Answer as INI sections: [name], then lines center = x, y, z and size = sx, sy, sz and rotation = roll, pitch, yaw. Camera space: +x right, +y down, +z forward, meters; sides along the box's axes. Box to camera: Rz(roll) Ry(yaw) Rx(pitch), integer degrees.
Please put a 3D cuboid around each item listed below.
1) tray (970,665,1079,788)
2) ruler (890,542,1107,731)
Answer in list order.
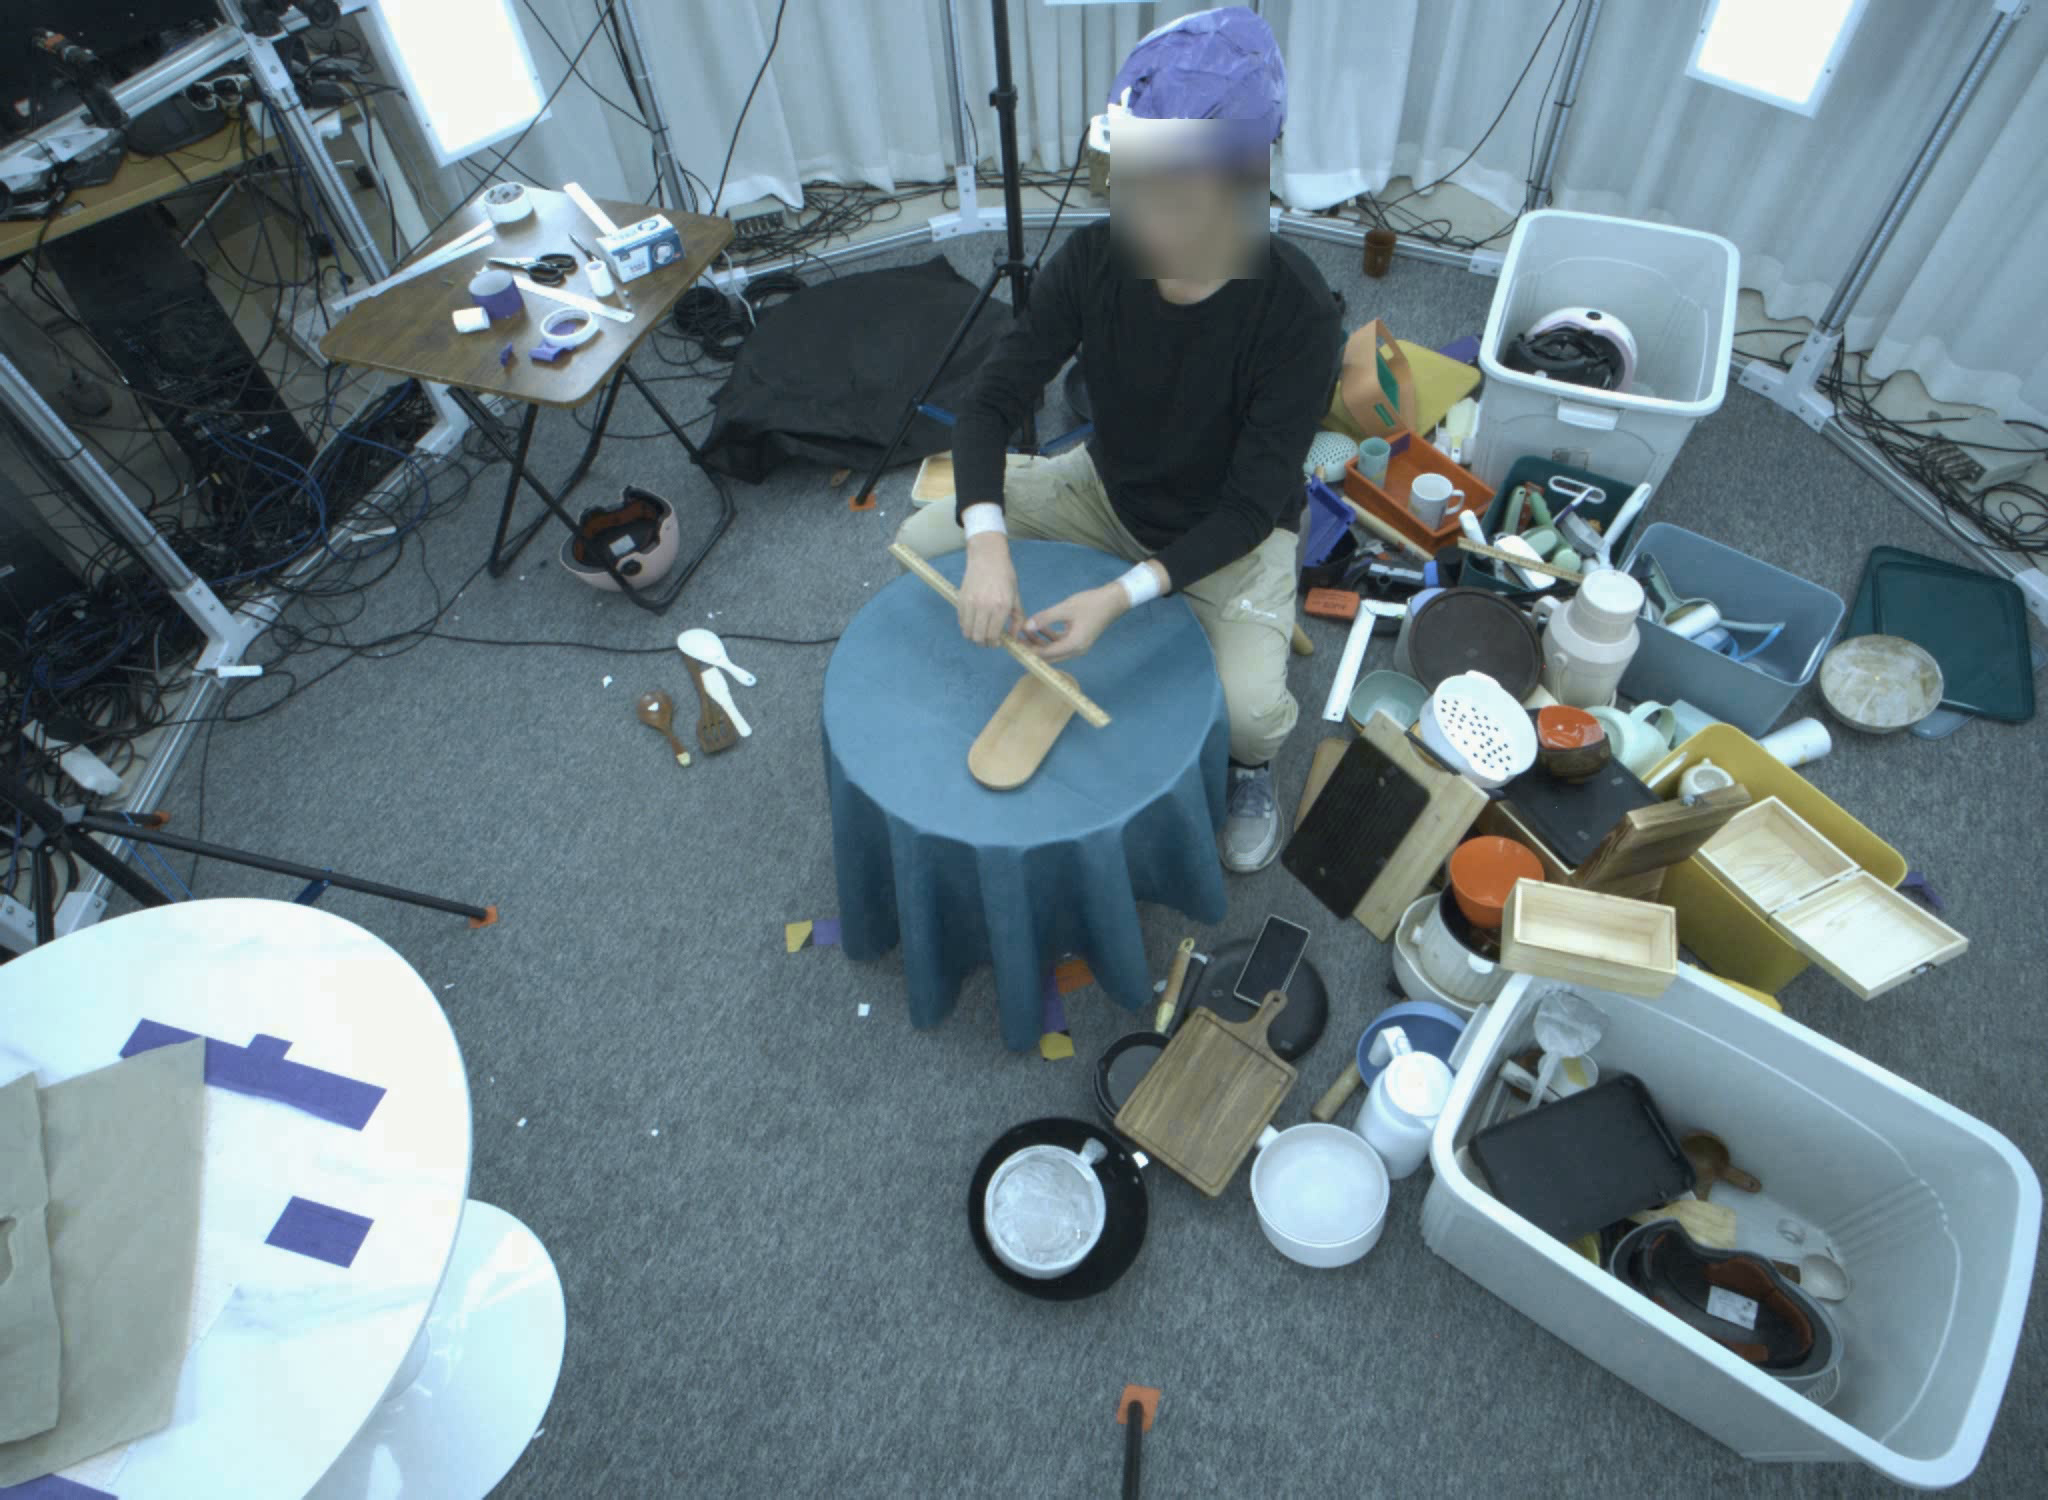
[tray]
center = 0.002, -0.037, 1.803
size = 0.100, 0.020, 0.231
rotation = 22, 57, 15
[ruler]
center = -0.048, -0.176, 1.781
size = 0.027, 0.006, 0.490
rotation = -27, 54, -29
